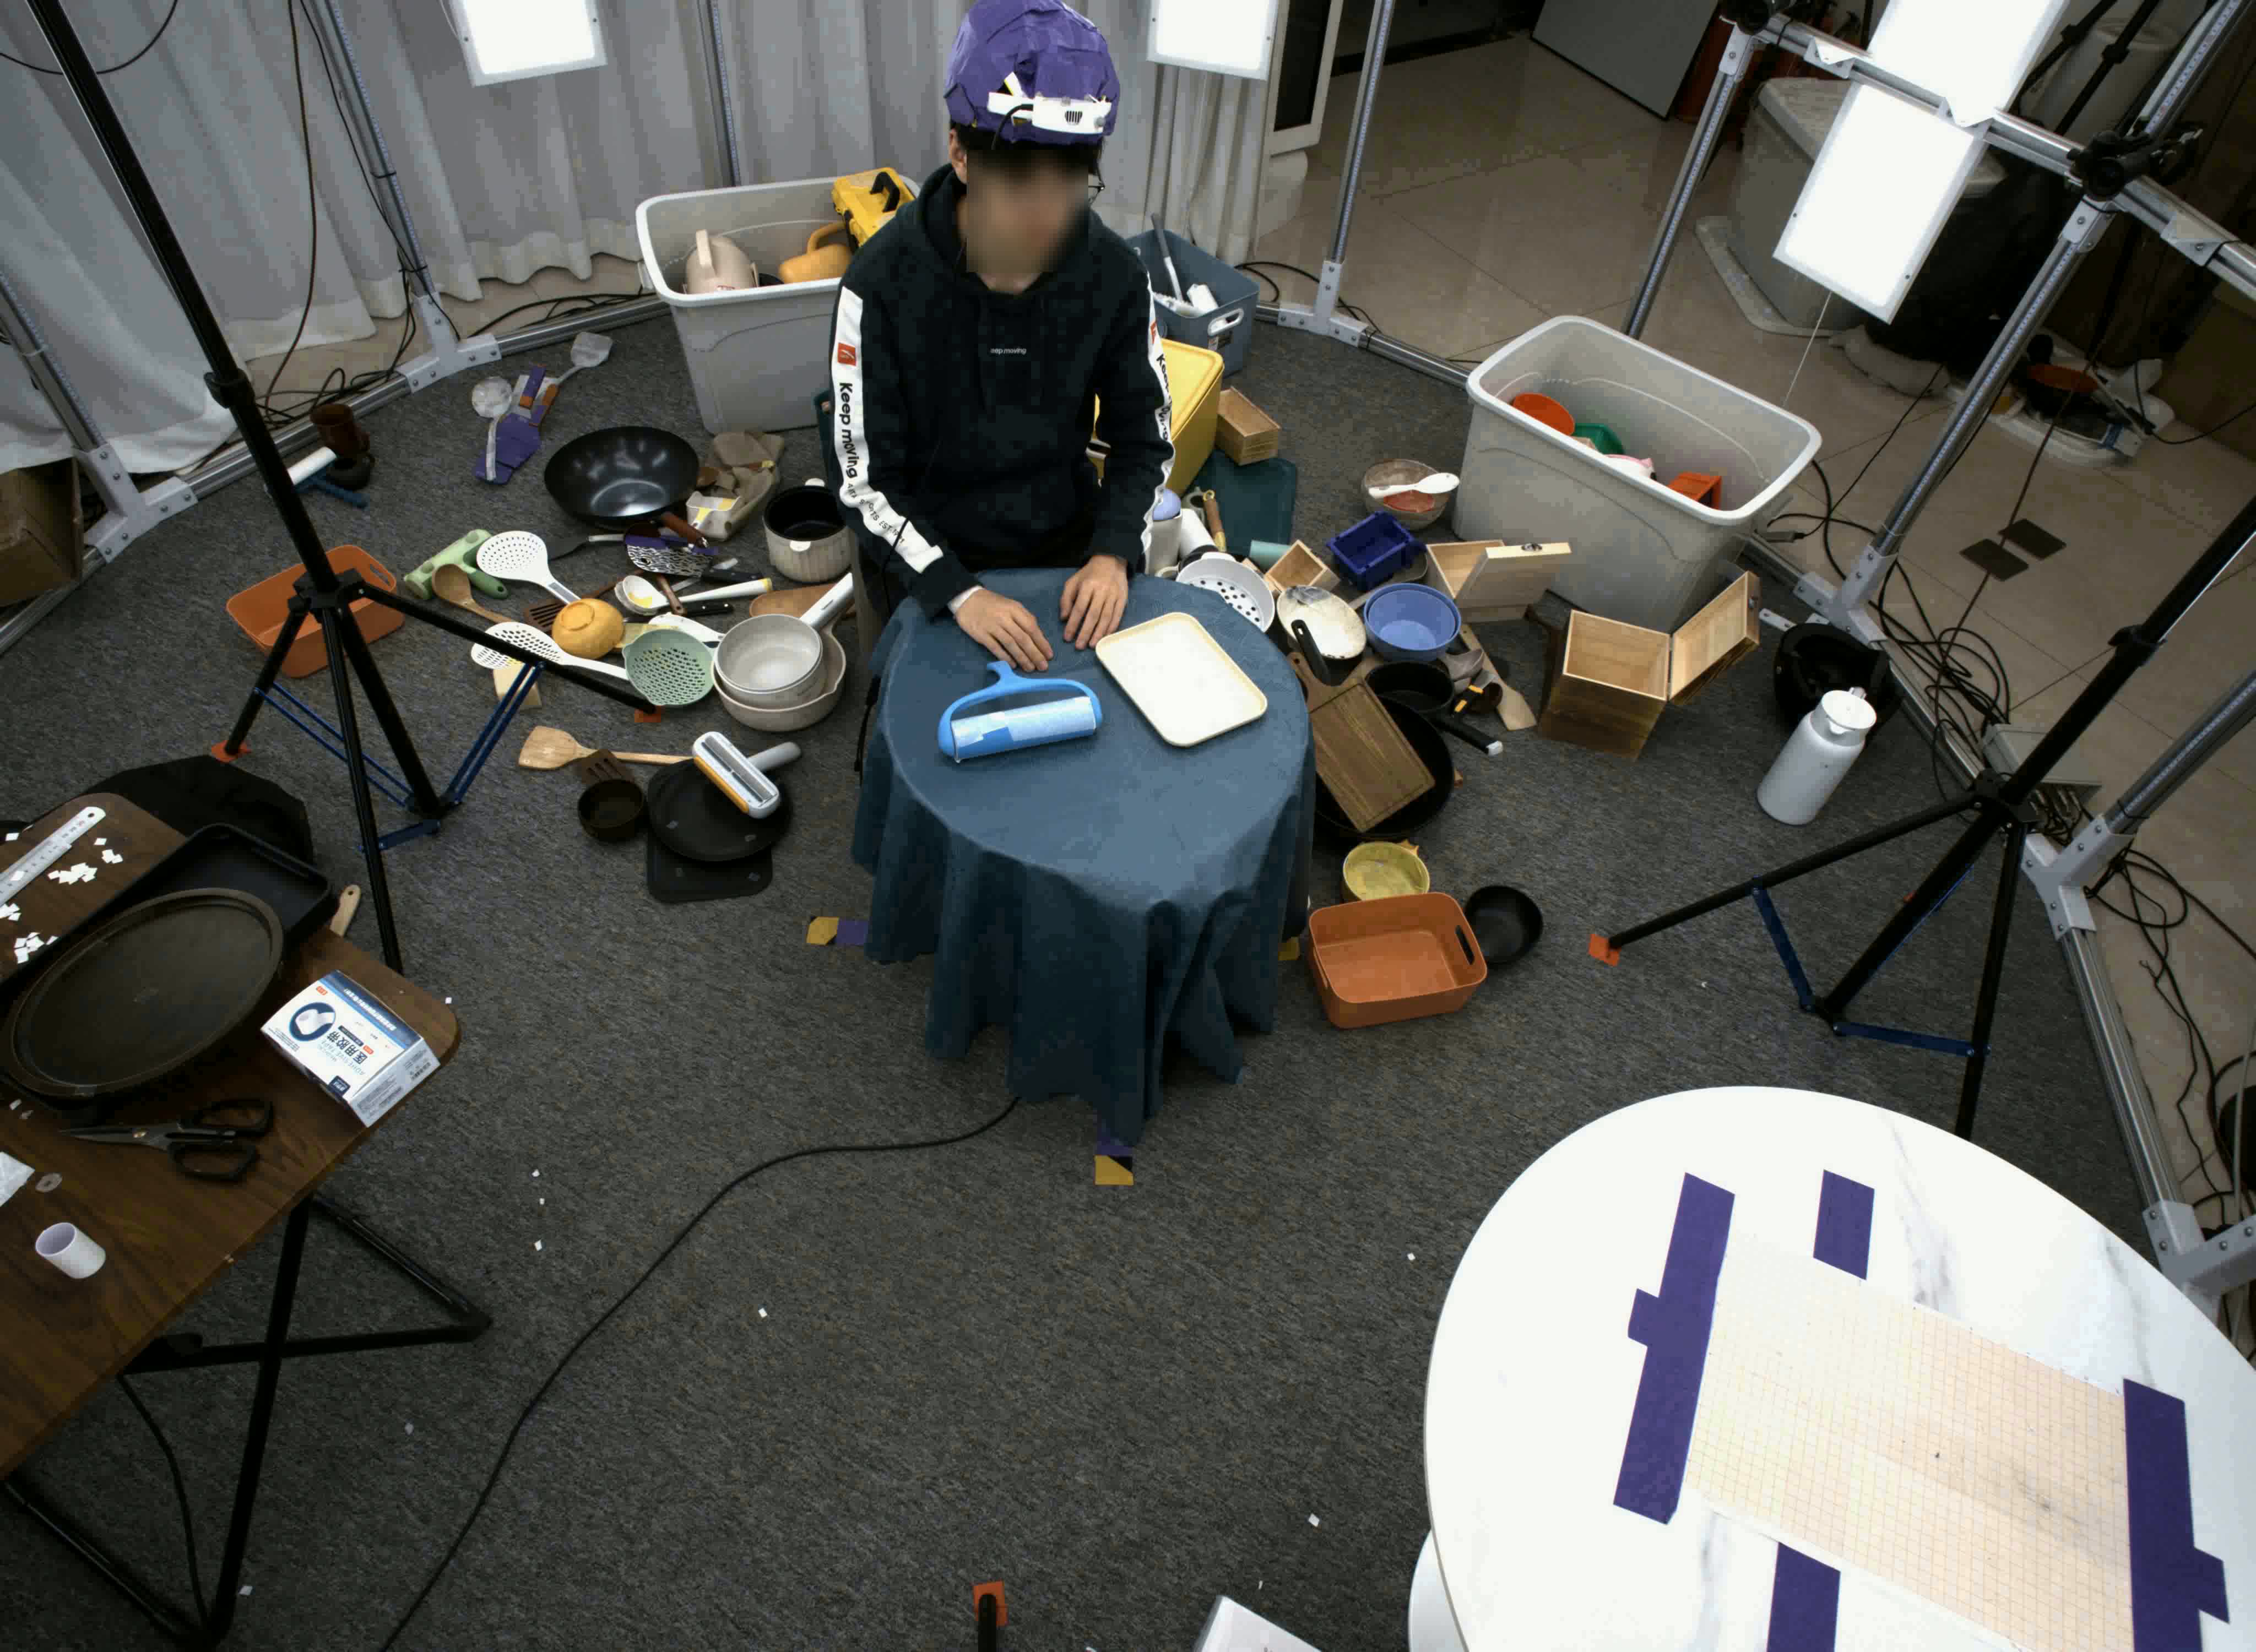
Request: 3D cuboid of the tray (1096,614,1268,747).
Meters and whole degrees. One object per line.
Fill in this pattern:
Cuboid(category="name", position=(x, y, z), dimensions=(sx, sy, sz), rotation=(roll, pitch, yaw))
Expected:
Cuboid(category="tray", position=(0.075, -0.211, 1.844), dimensions=(0.172, 0.017, 0.245), rotation=(-22, 54, -22))

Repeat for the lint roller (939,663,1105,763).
Cuboid(category="lint roller", position=(-0.163, -0.177, 1.774), dimensions=(0.229, 0.066, 0.184), rotation=(-15, 53, -14))
